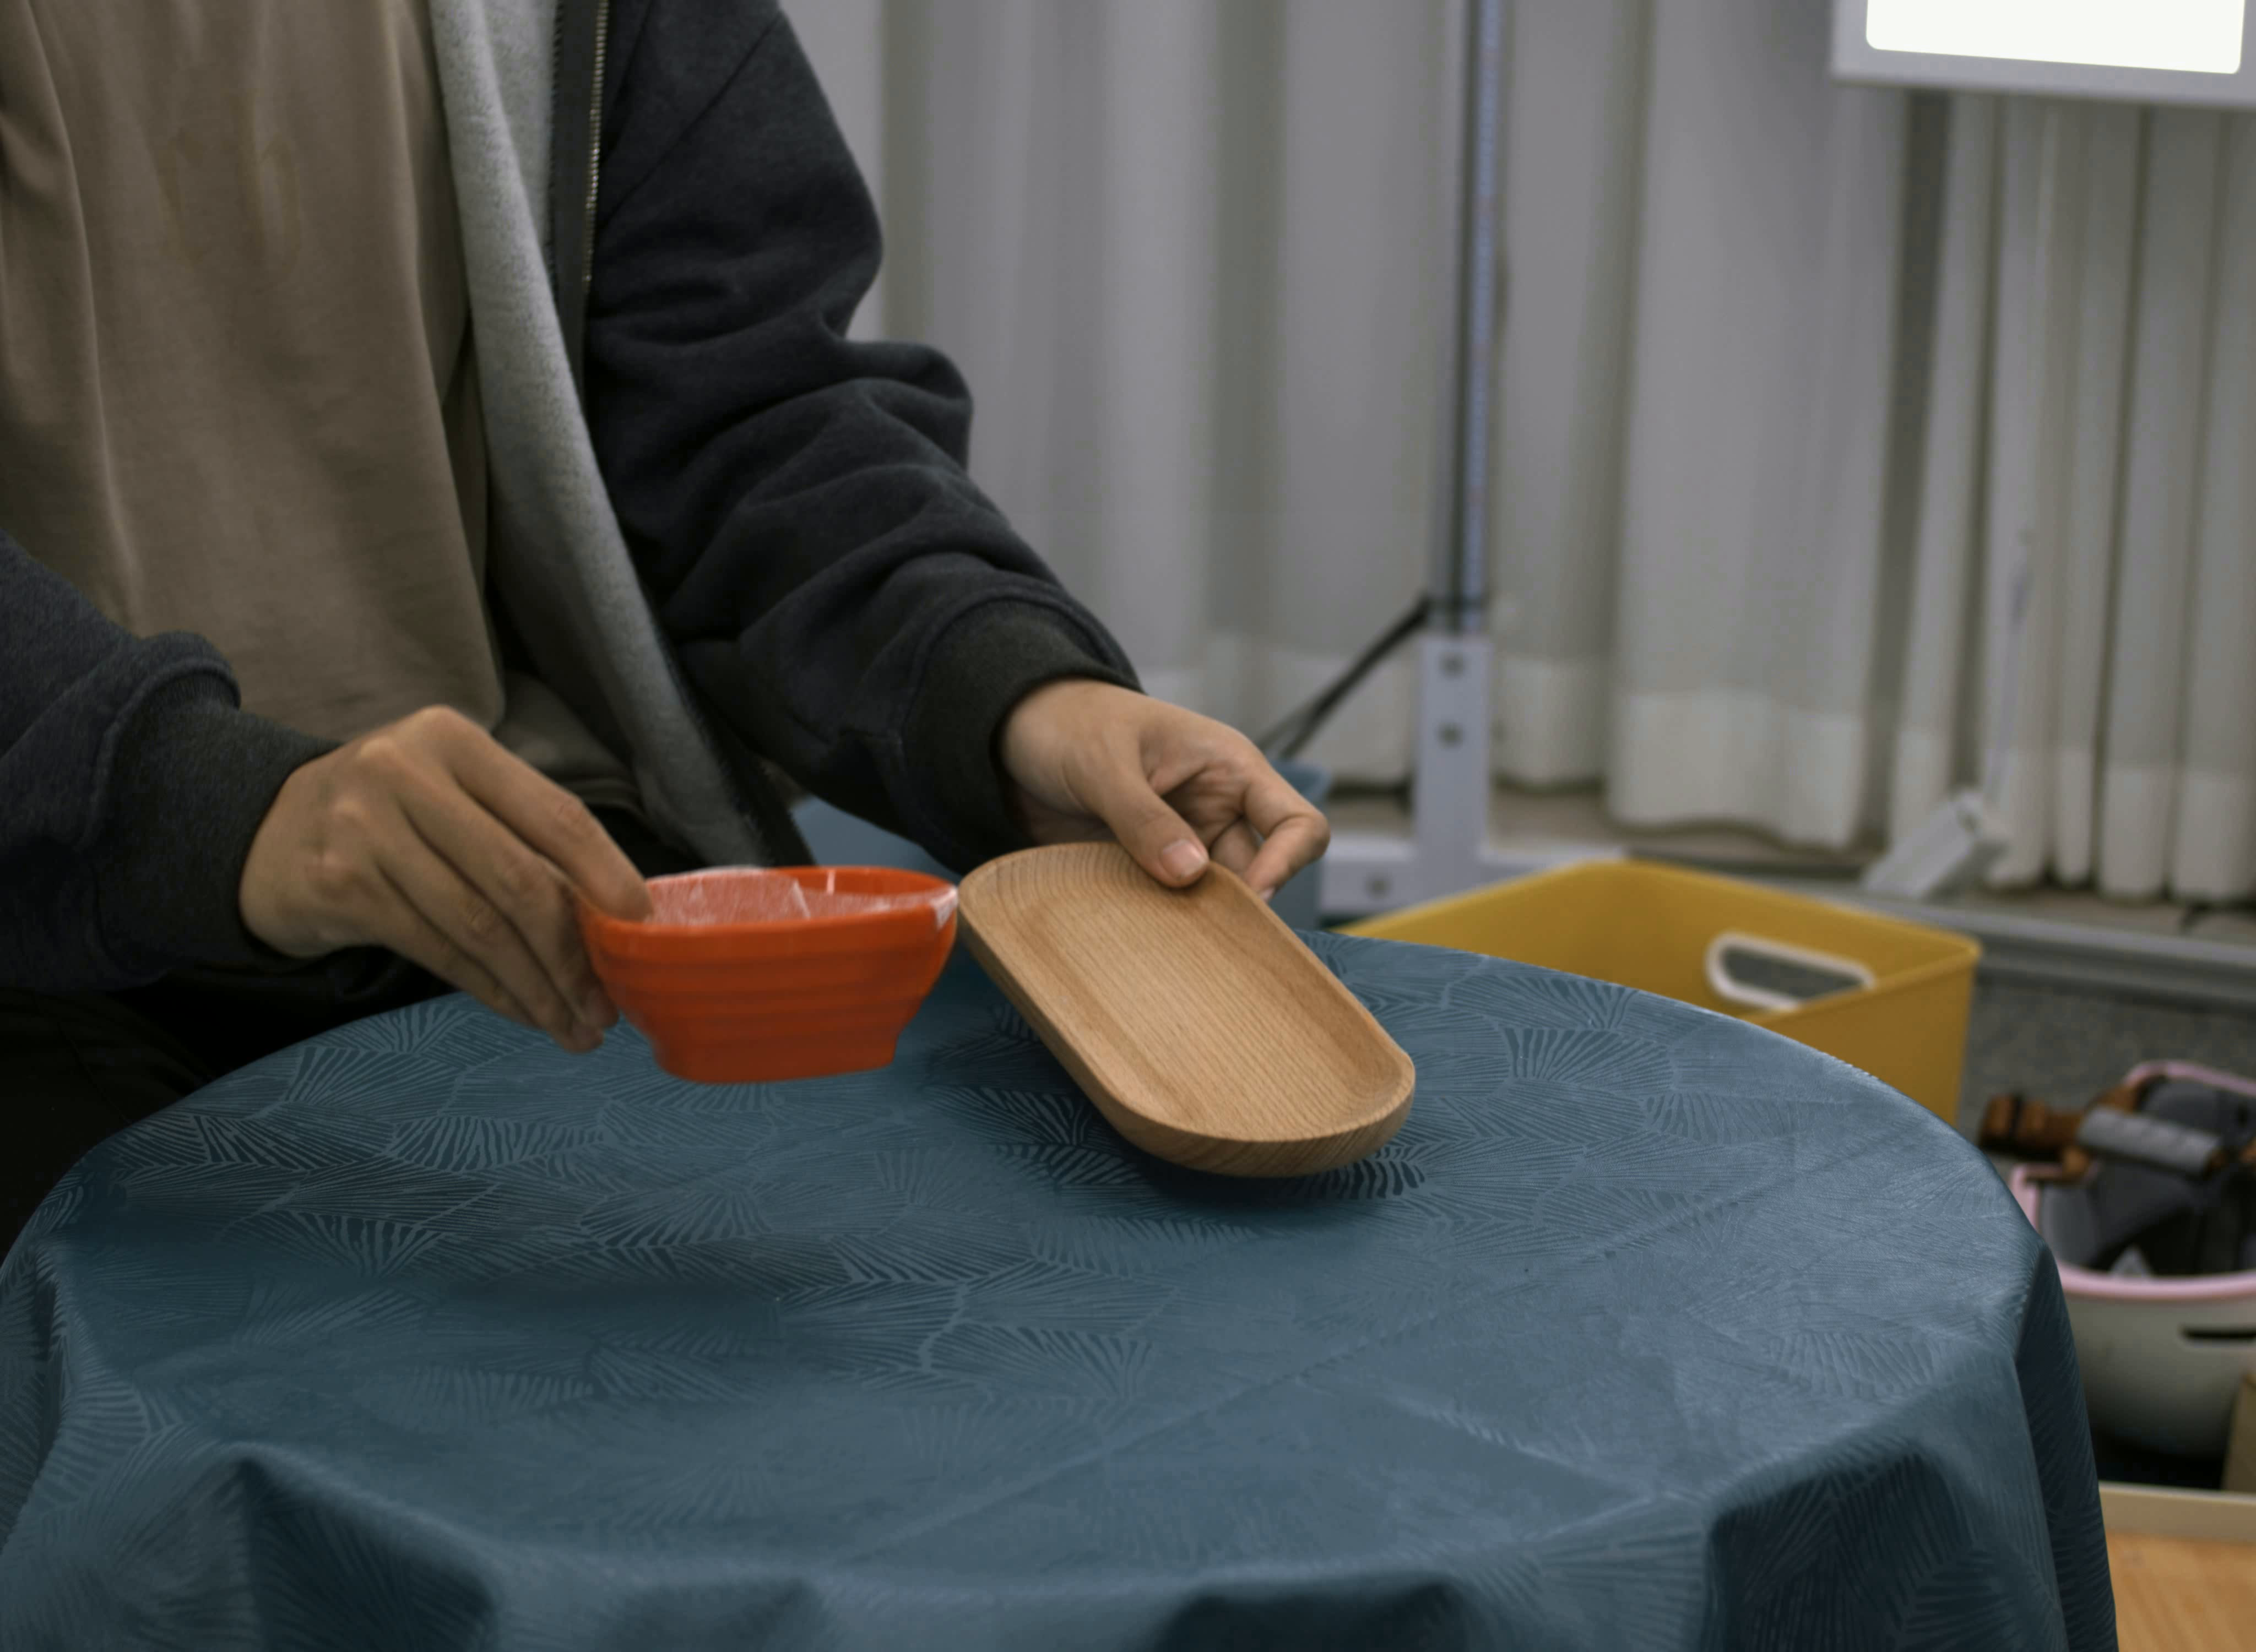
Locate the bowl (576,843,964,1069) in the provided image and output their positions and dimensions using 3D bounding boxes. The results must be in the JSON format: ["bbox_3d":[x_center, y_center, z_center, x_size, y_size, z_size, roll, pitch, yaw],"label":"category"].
[{"bbox_3d":[-0.103,0.038,1.536,0.118,0.051,0.118,-3,9,1],"label":"bowl"}]

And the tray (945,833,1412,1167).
[{"bbox_3d":[0.013,0.054,1.697,0.102,0.020,0.228,-7,24,-22],"label":"tray"}]
